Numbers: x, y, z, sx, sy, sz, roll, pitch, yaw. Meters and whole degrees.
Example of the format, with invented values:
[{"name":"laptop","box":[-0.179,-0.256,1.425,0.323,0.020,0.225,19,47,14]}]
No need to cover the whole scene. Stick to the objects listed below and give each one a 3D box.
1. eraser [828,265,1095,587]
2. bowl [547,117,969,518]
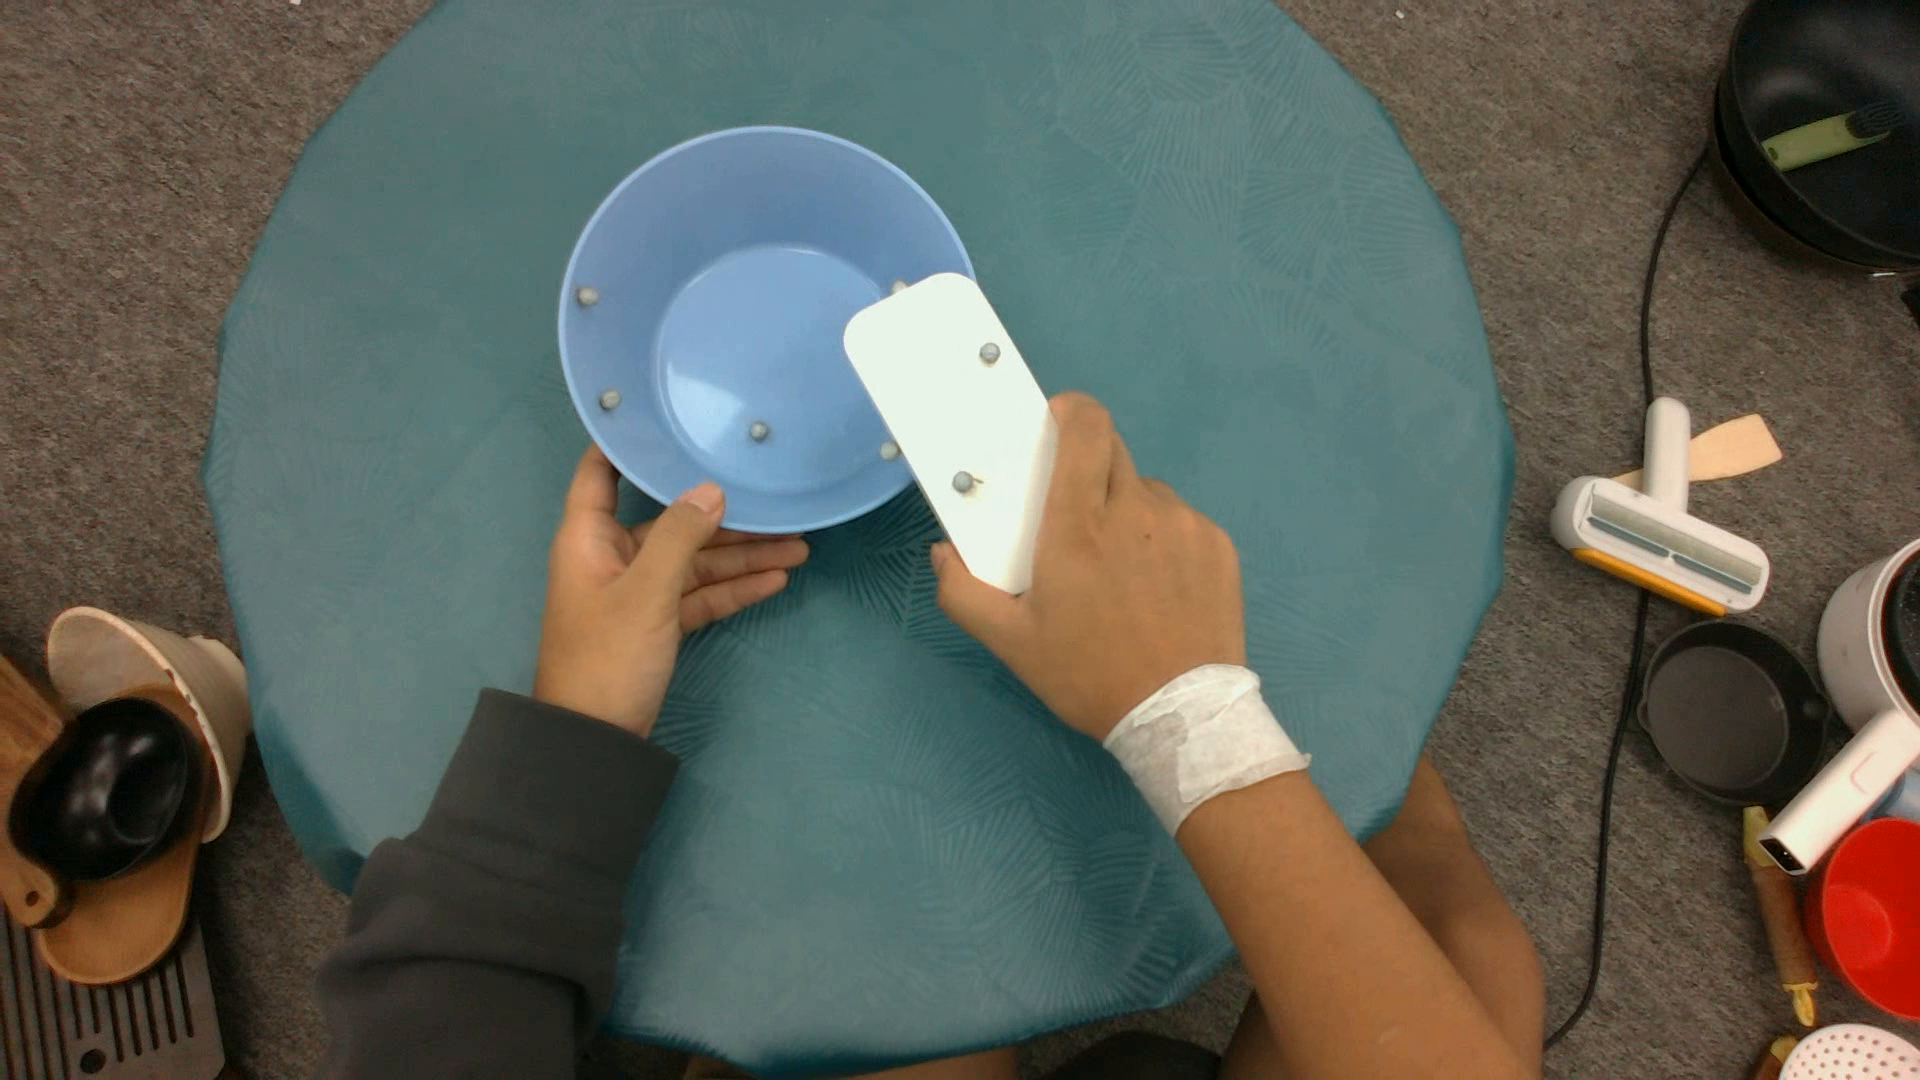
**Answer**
[{"name":"eraser","box":[-0.001,-0.045,0.555,0.063,0.034,0.131,-28,80,-9]},{"name":"bowl","box":[-0.085,-0.090,0.606,0.176,0.070,0.176,1,79,-4]}]
